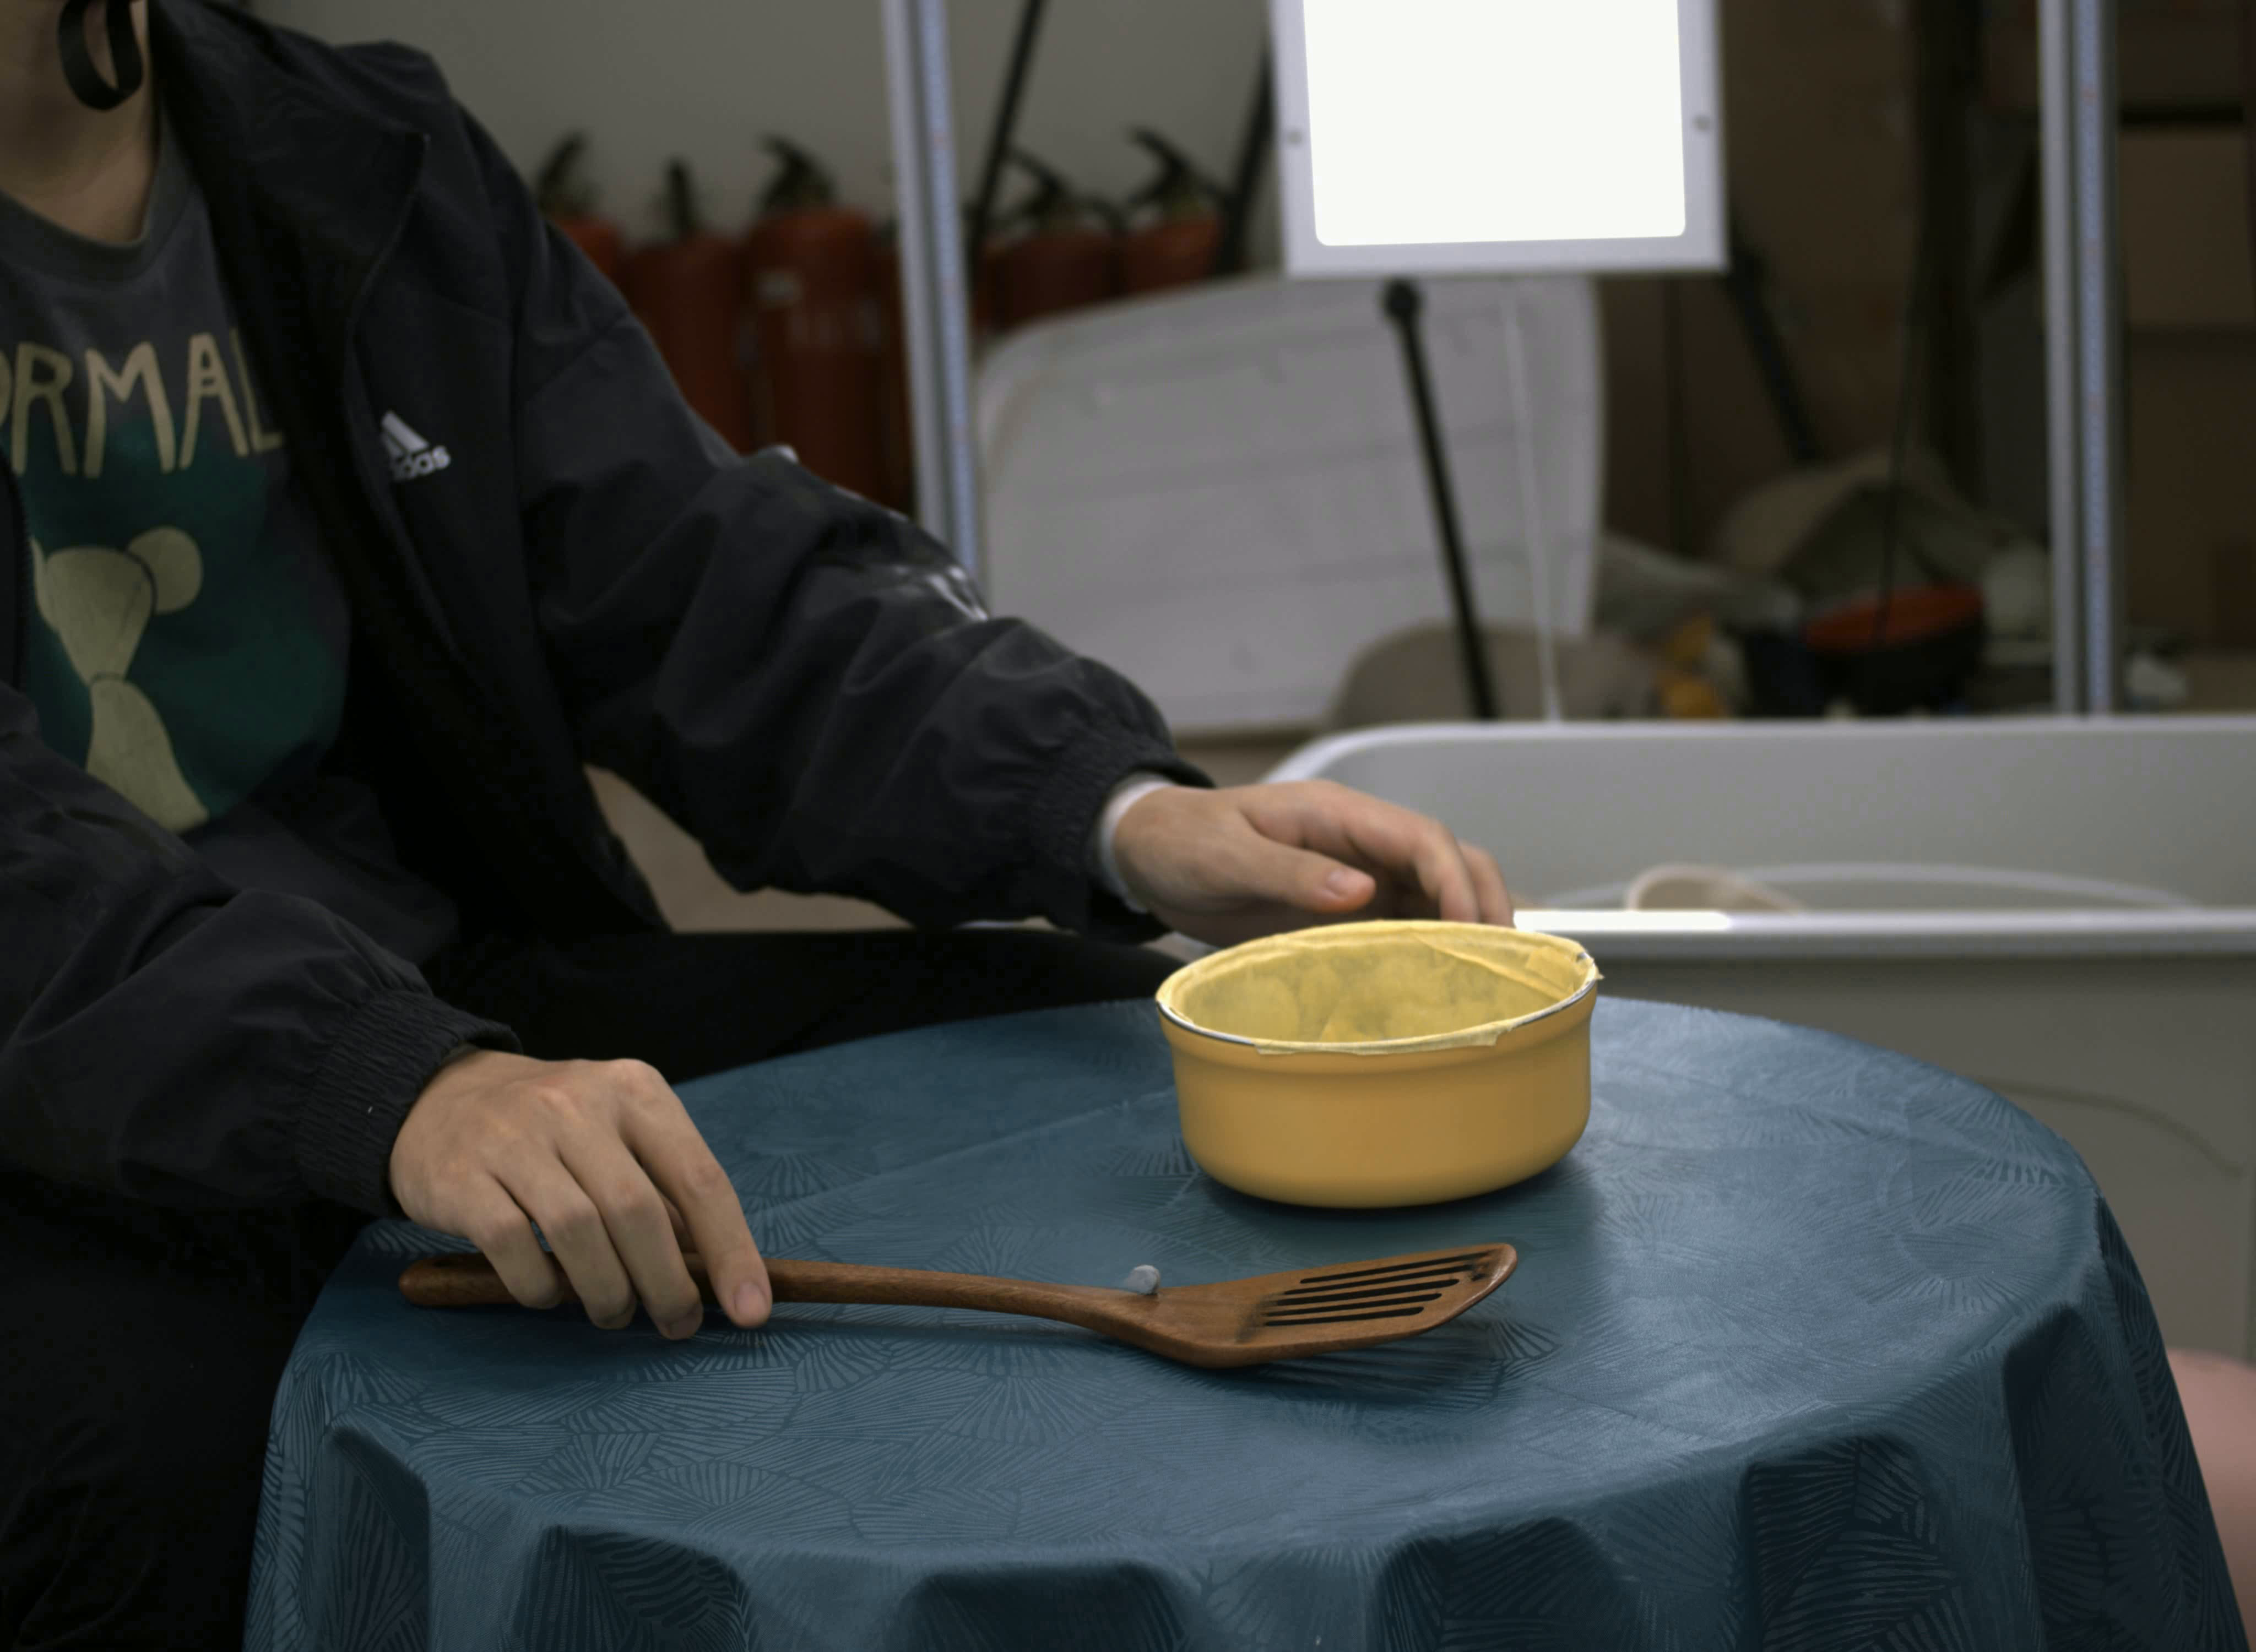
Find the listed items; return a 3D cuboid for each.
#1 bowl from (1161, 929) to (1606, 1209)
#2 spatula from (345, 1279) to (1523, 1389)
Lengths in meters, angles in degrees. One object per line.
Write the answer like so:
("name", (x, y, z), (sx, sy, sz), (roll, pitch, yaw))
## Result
("bowl", (0.089, 0.083, 1.909), (0.152, 0.074, 0.180), (-6, 14, -7))
("spatula", (-0.067, 0.161, 1.765), (0.390, 0.024, 0.084), (1, 5, 14))
